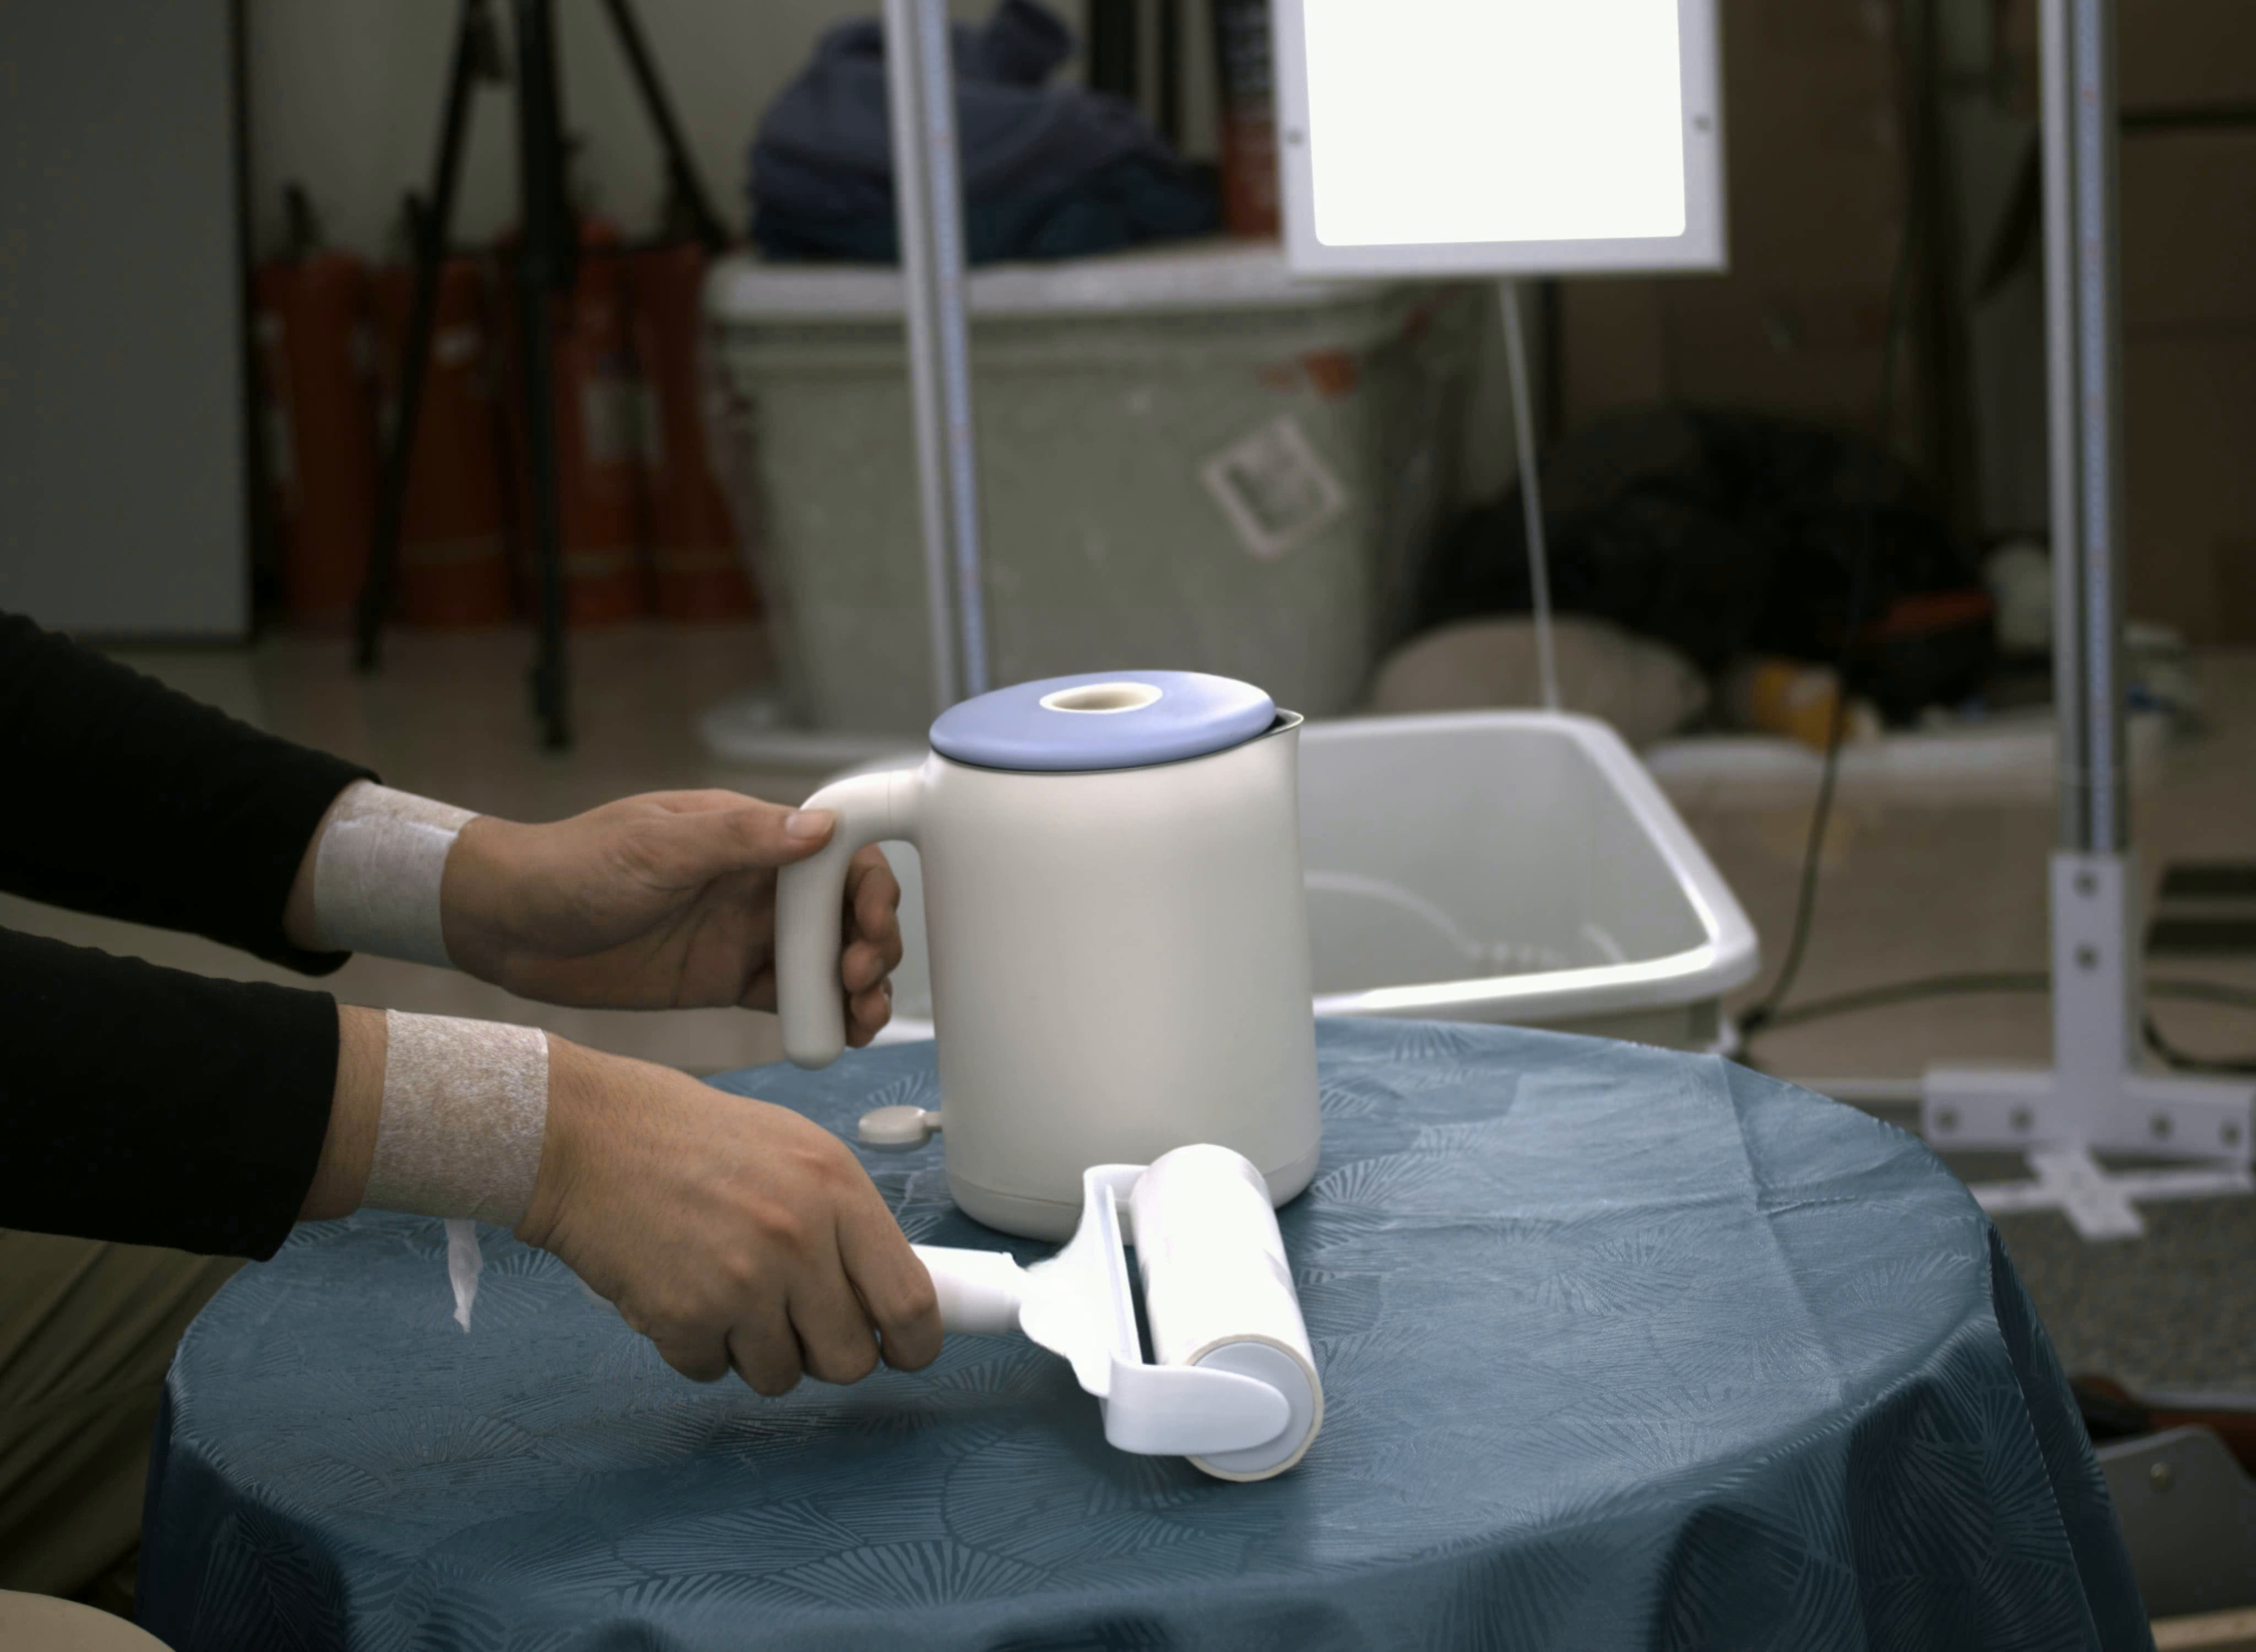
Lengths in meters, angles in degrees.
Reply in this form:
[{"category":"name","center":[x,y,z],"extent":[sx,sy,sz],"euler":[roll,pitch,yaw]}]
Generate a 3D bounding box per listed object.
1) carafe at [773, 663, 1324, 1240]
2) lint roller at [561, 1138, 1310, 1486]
[{"category":"carafe","center":[-0.027,0.045,1.881],"extent":[0.191,0.183,0.131],"euler":[-5,13,6]},{"category":"lint roller","center":[-0.061,0.141,1.697],"extent":[0.224,0.048,0.202],"euler":[4,14,-4]}]
